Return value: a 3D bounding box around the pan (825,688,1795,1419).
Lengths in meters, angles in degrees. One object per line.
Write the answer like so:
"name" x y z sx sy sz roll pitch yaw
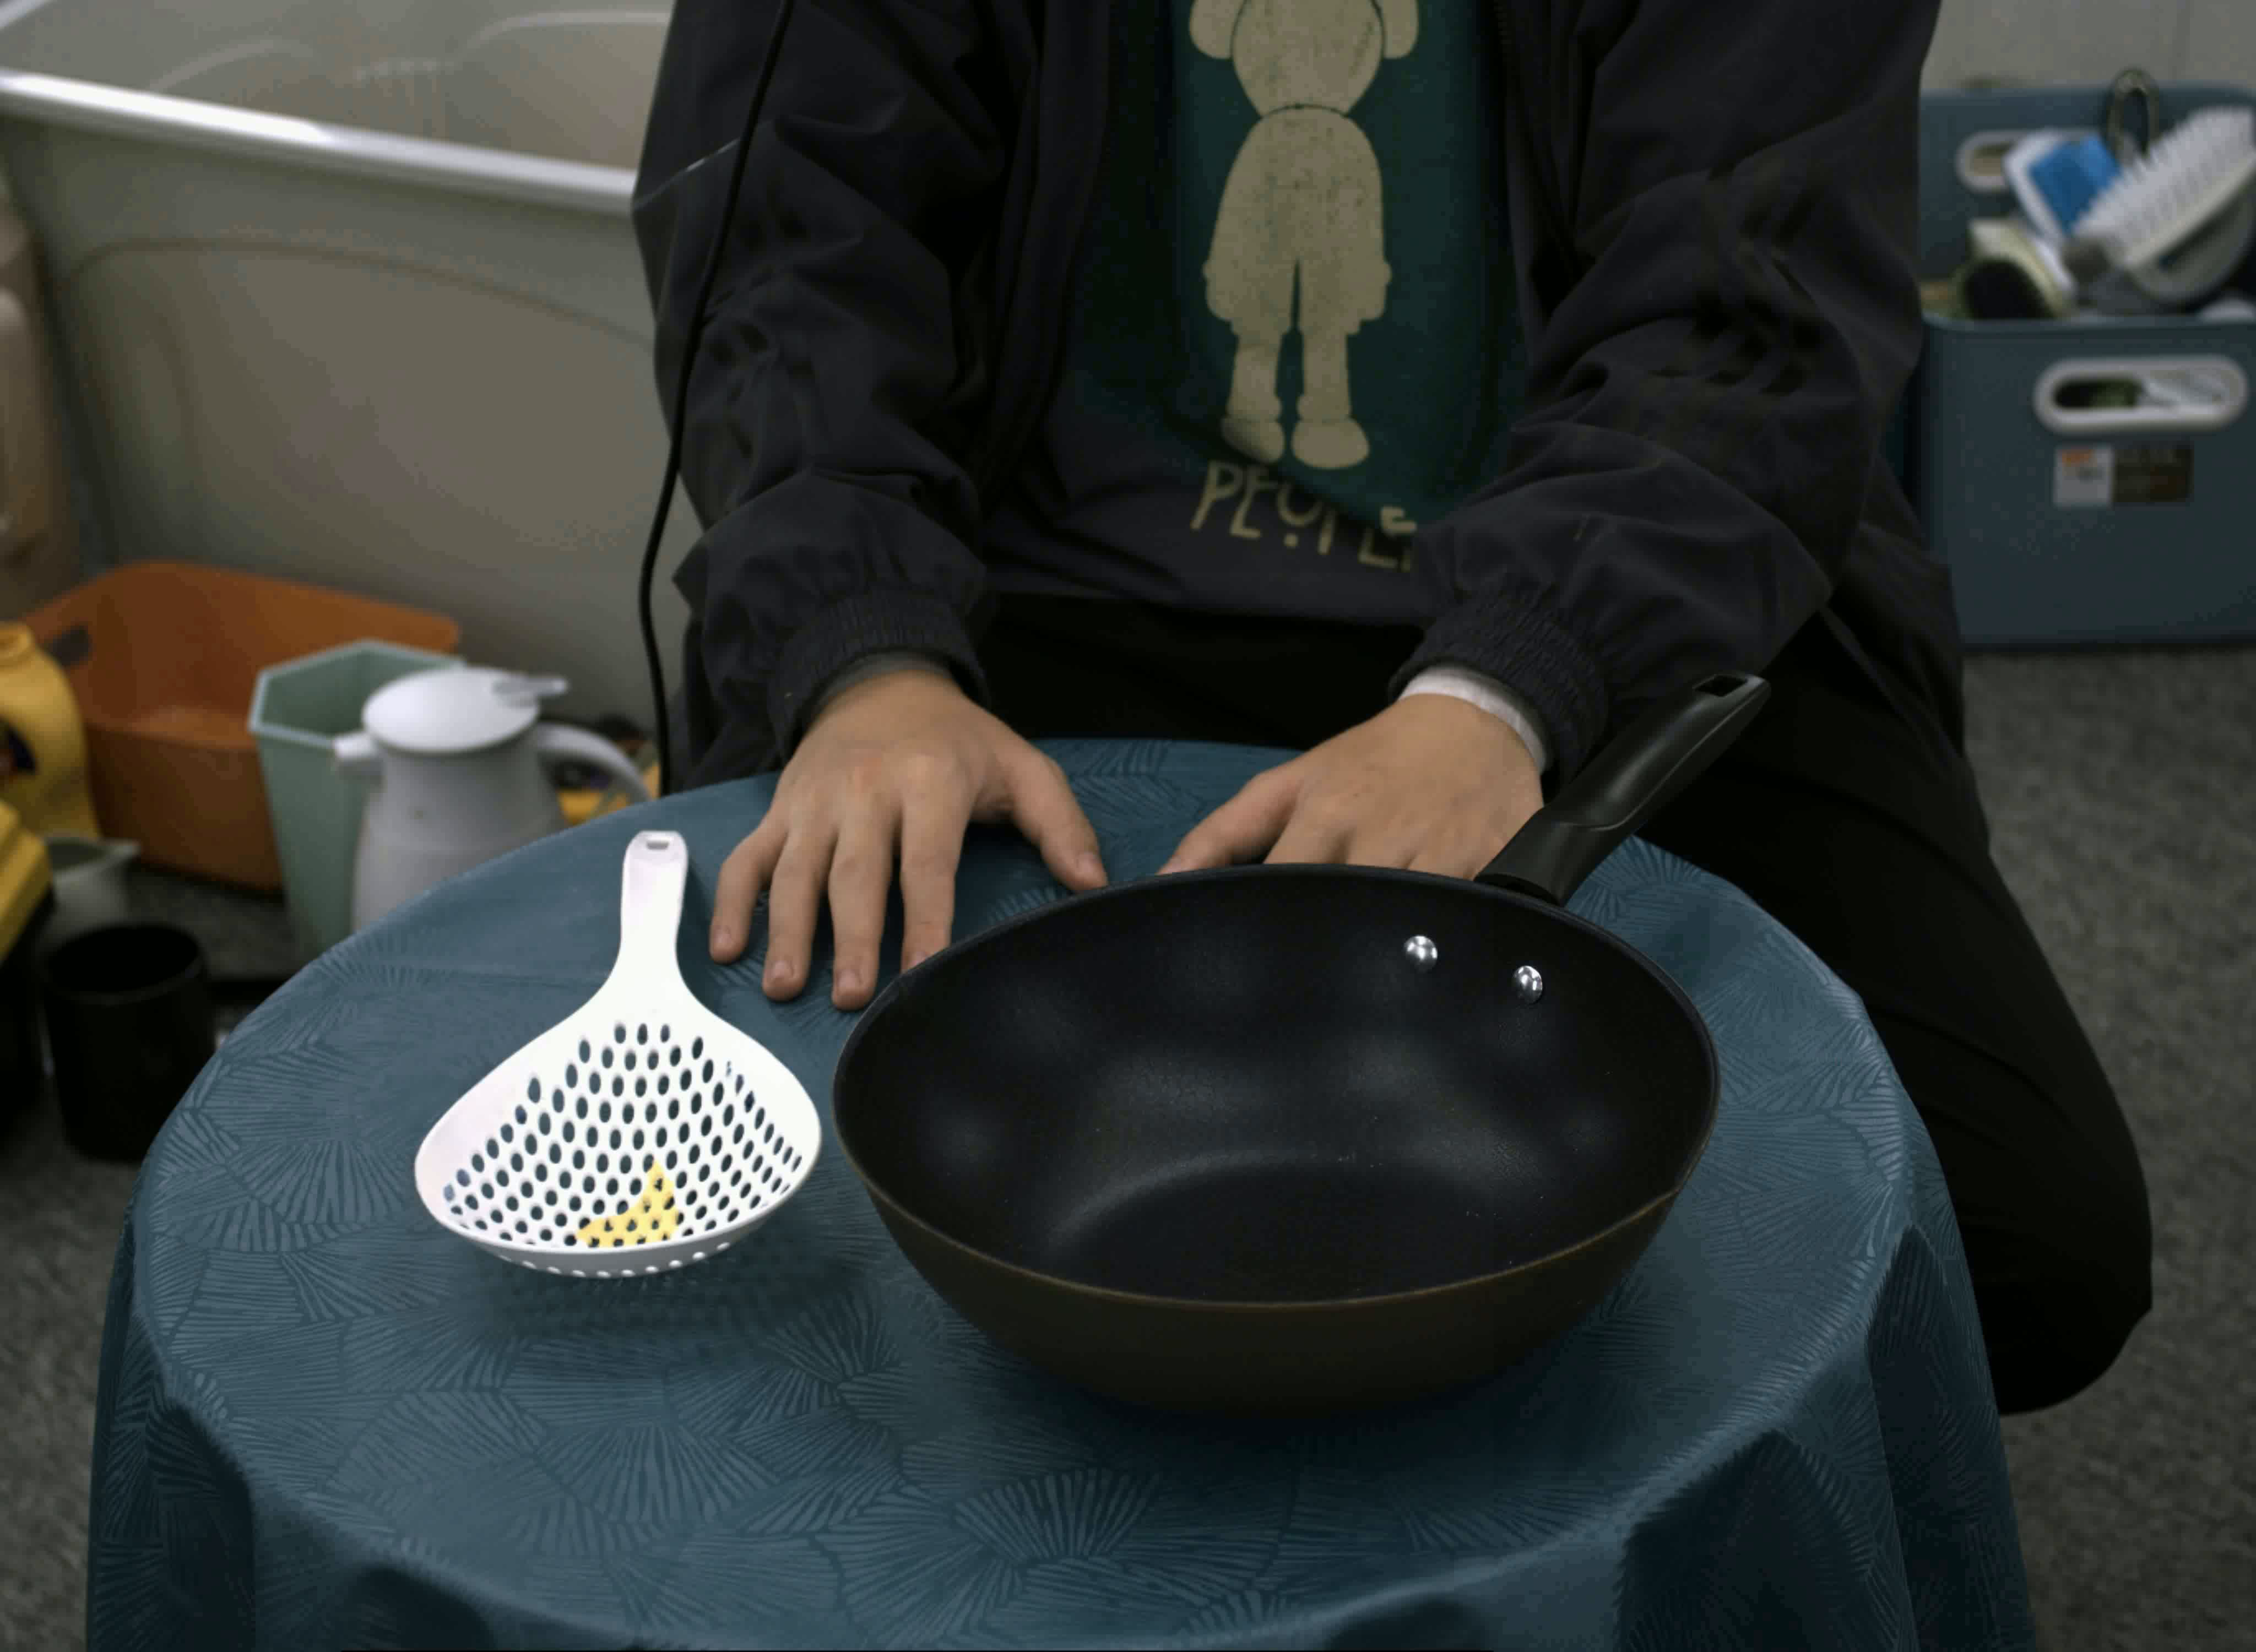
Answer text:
"pan" 0.096 0.074 1.854 0.286 0.086 0.470 14 31 30

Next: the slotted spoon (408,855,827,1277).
"slotted spoon" -0.167 0.070 1.931 0.136 0.050 0.353 -5 27 1
